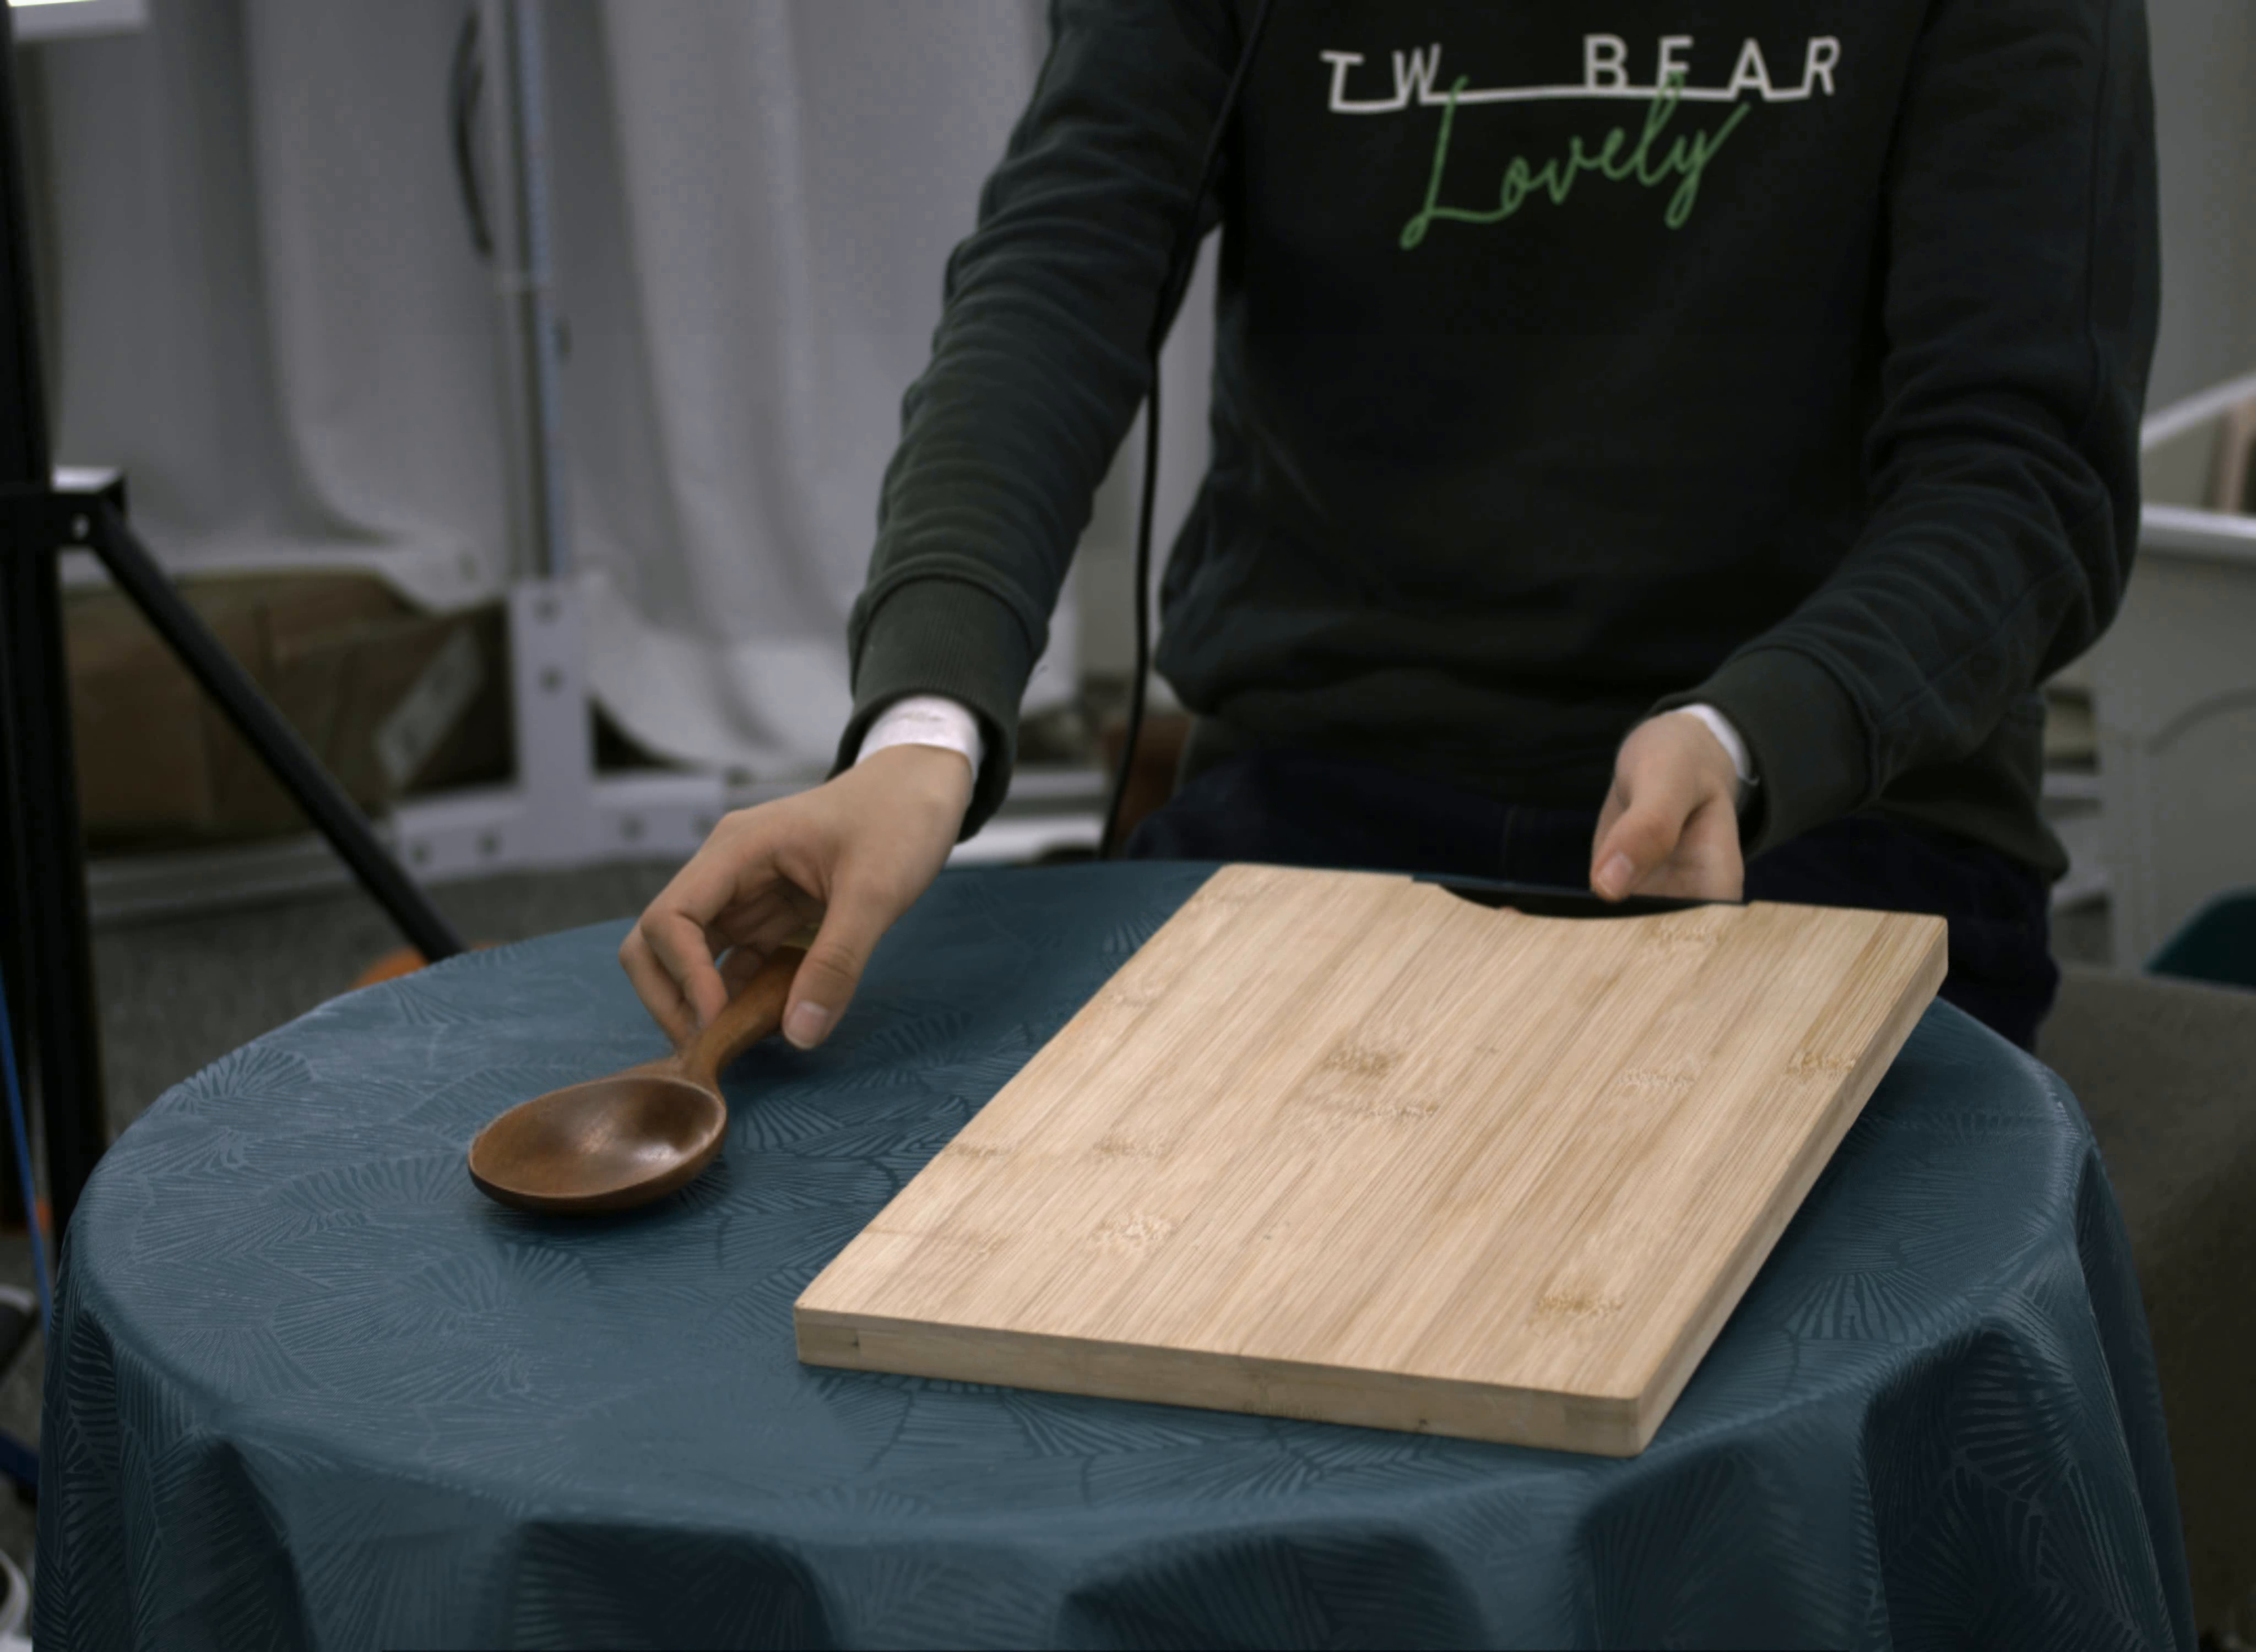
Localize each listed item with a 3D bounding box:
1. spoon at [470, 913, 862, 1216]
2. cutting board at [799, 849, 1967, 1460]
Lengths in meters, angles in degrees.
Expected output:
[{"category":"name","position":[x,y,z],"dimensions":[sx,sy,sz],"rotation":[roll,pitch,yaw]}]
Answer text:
[{"category":"spoon","position":[-0.132,0.074,1.639],"dimensions":[0.076,0.017,0.213],"rotation":[2,23,23]},{"category":"cutting board","position":[0.084,0.085,1.539],"dimensions":[0.254,0.023,0.345],"rotation":[4,22,21]}]
